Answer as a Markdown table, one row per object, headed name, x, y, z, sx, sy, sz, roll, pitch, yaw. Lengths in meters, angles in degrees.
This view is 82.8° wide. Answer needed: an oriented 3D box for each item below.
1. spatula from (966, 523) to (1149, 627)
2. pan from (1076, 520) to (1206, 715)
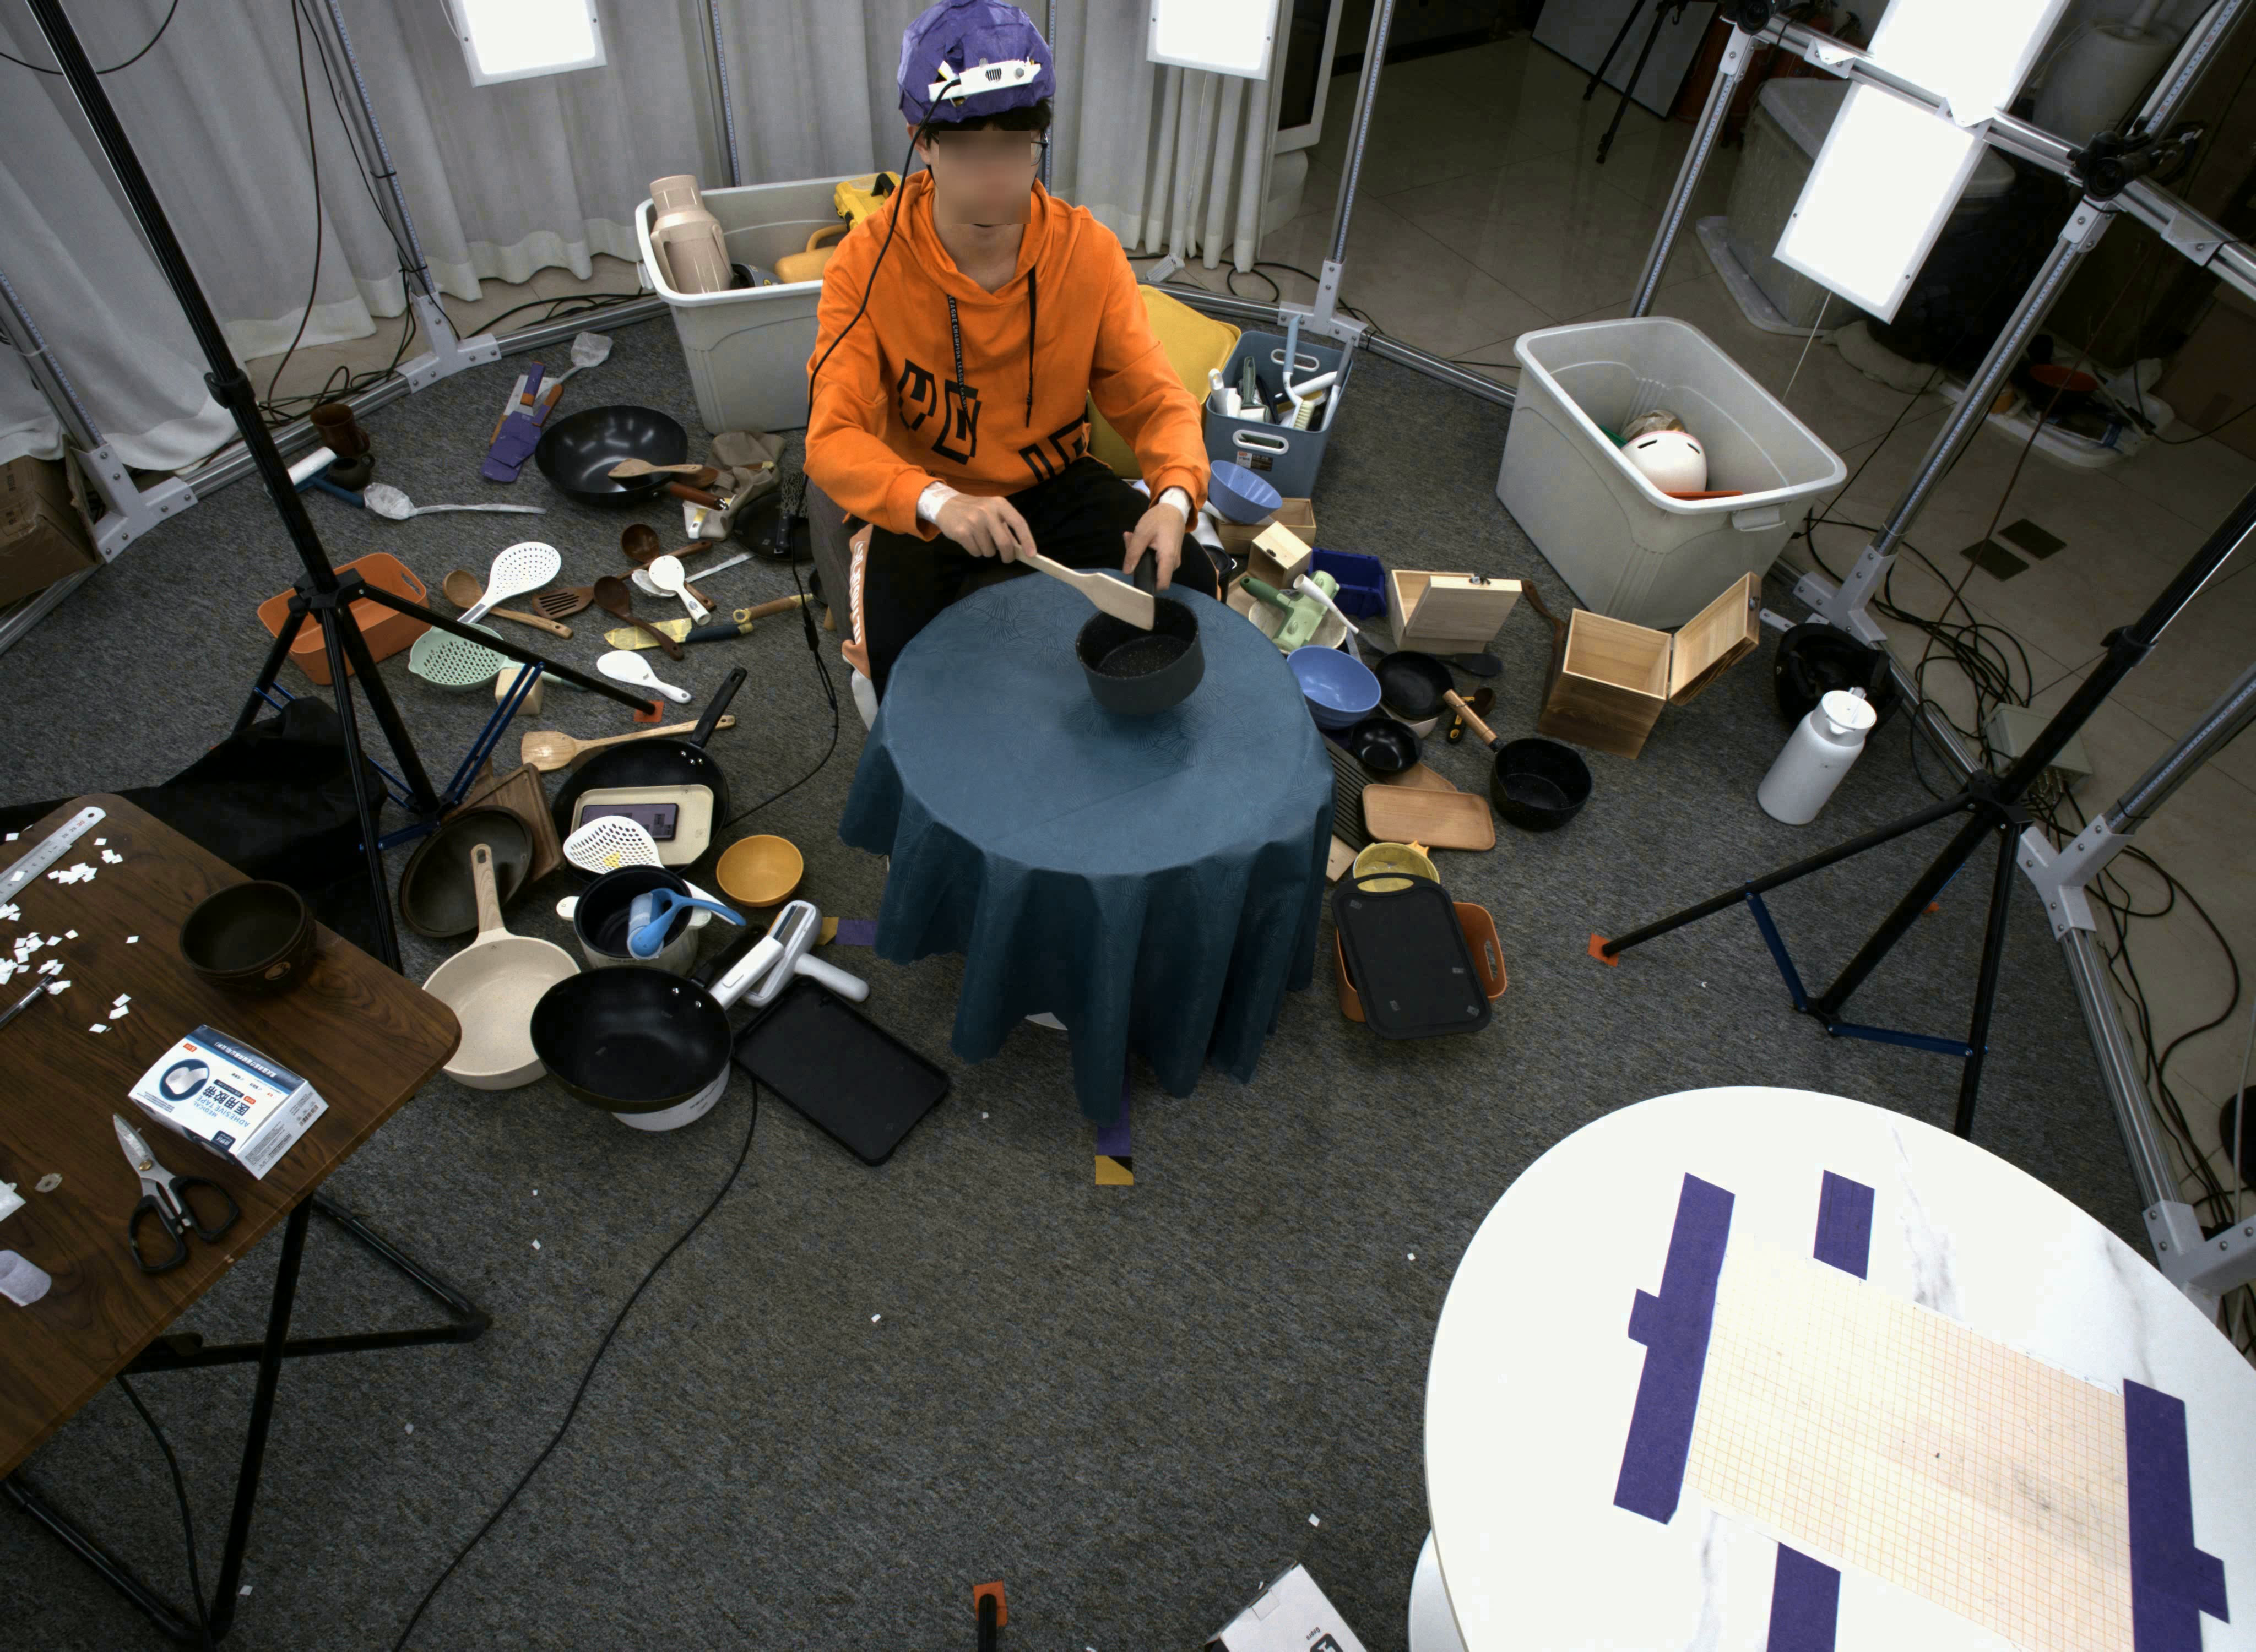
| name | x | y | z | sx | sy | sz | roll | pitch | yaw |
| --- | --- | --- | --- | --- | --- | --- | --- | --- | --- |
| spatula | -0.098 | -0.346 | 1.735 | 0.295 | 0.070 | 0.011 | 28 | 66 | 18 |
| pan | 0.028 | -0.296 | 1.811 | 0.172 | 0.084 | 0.336 | -3 | 49 | 13 |
